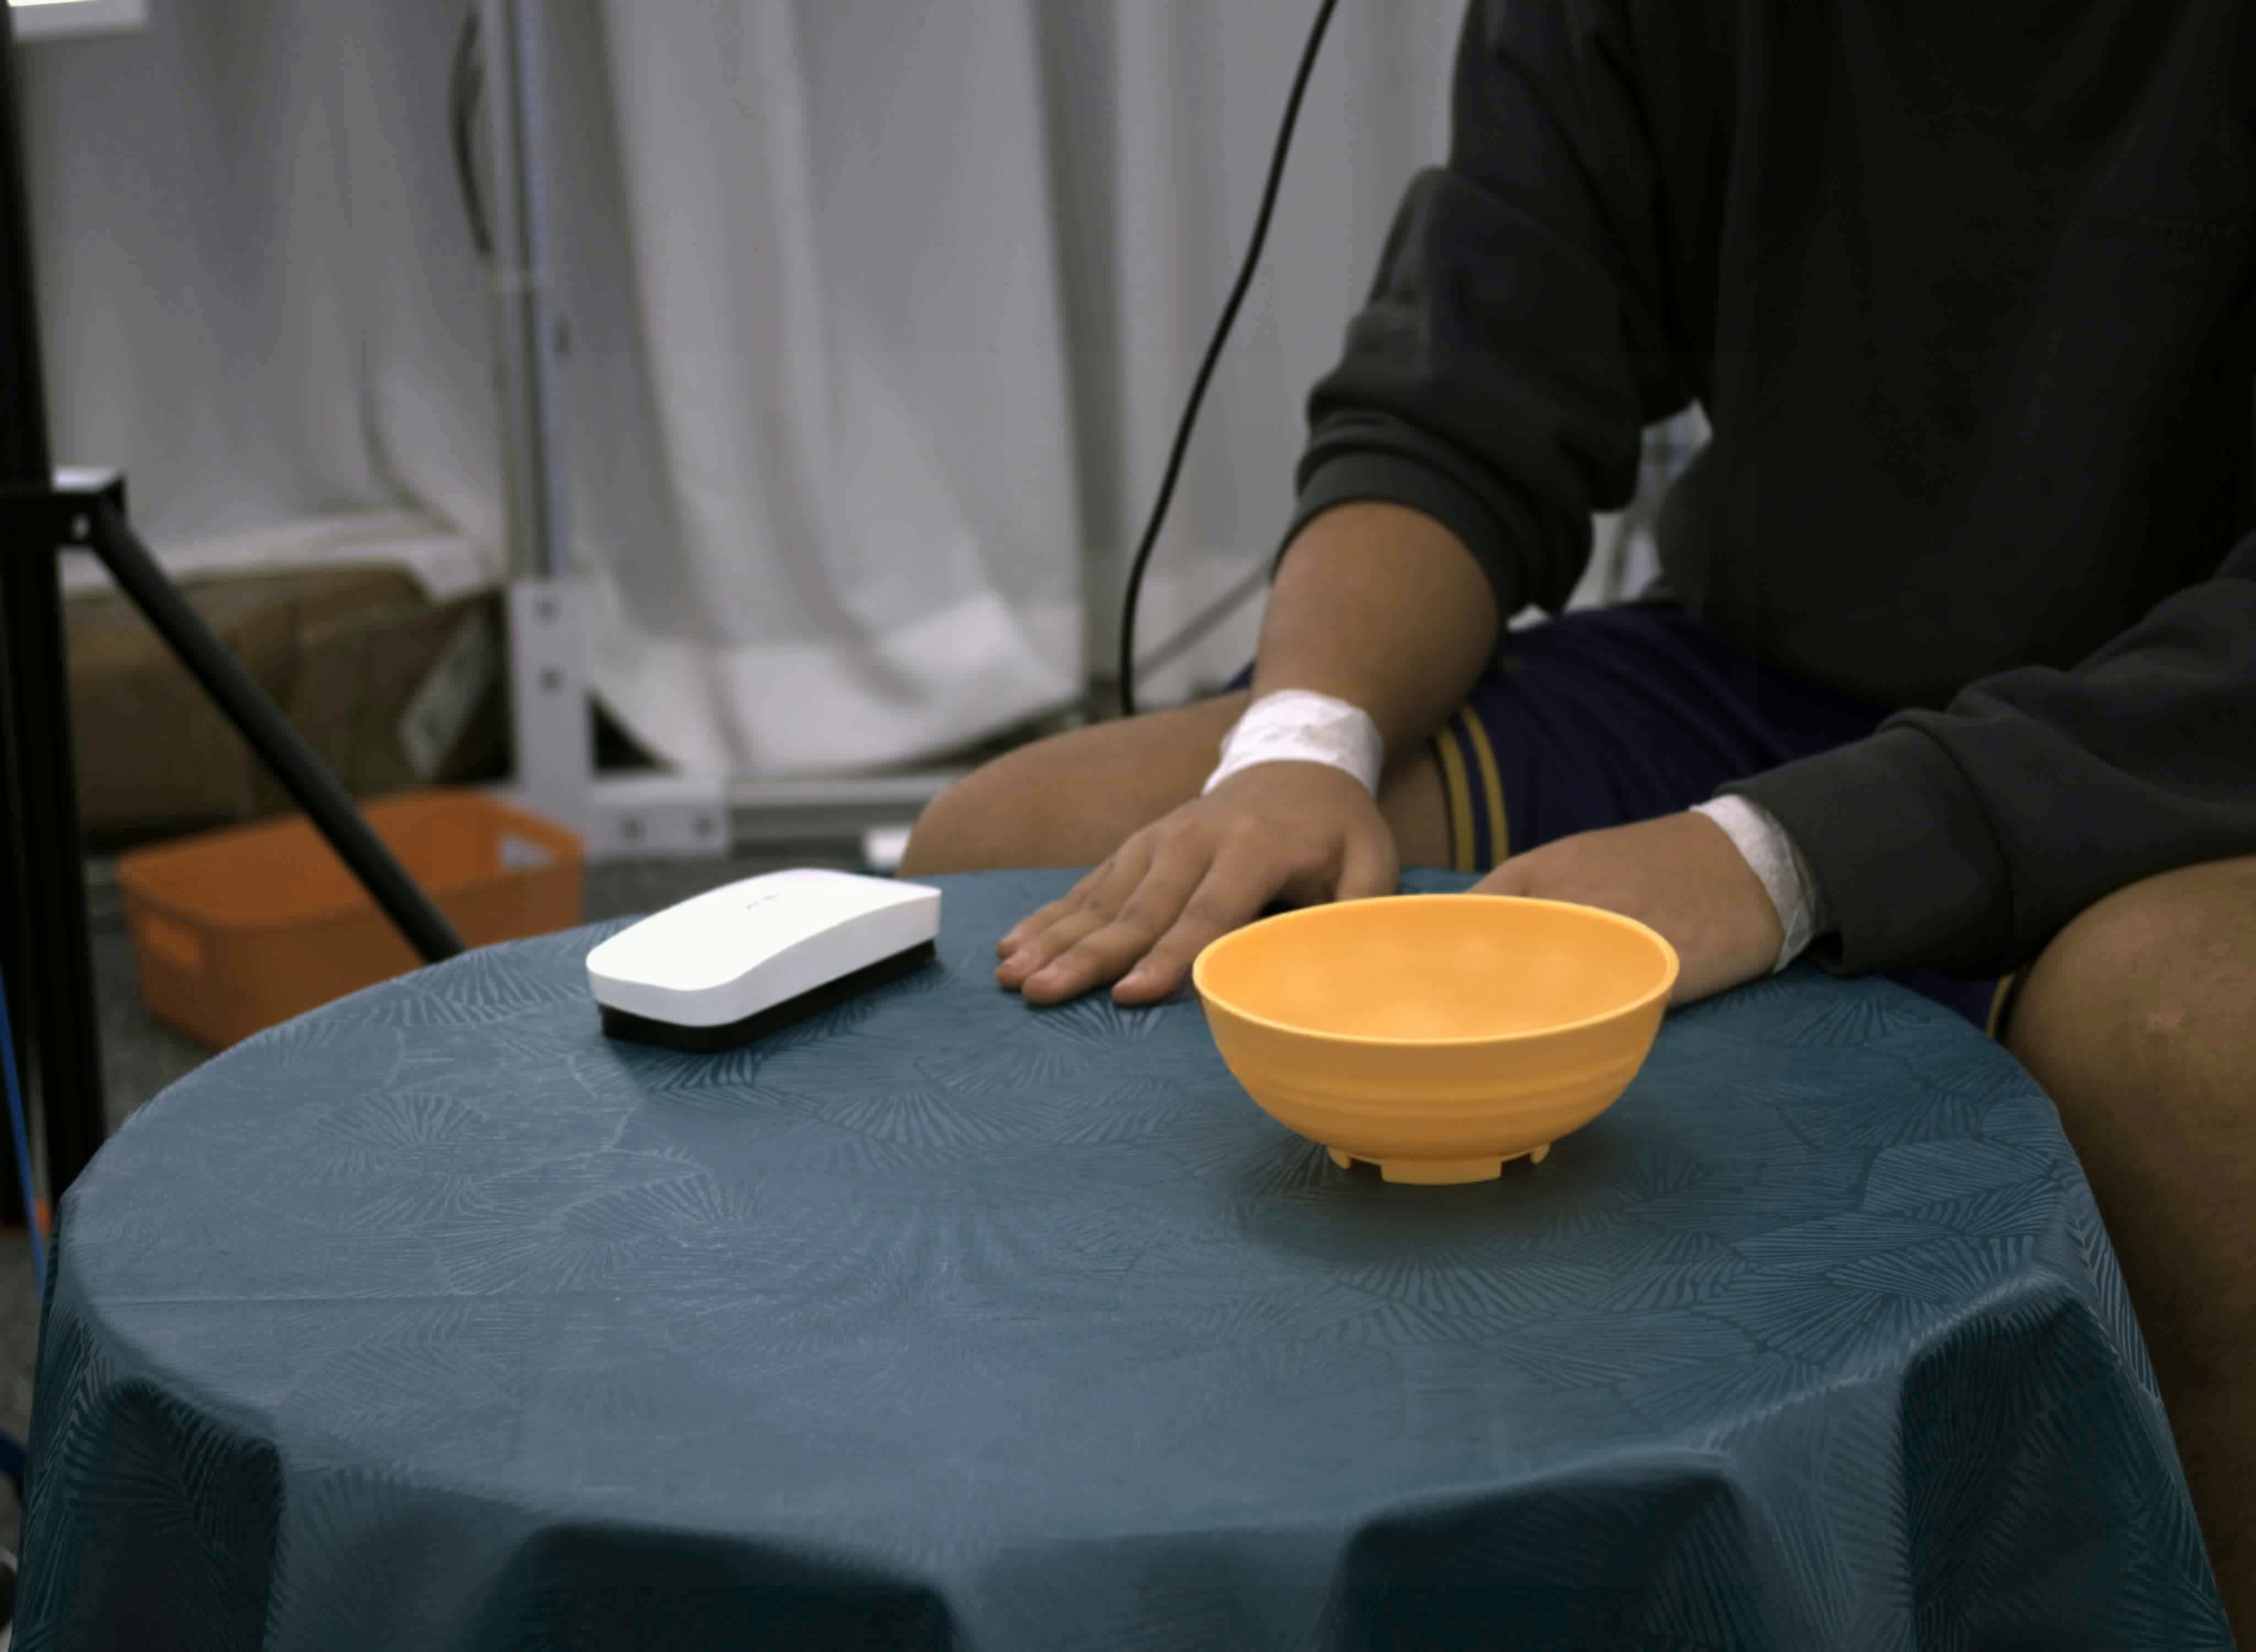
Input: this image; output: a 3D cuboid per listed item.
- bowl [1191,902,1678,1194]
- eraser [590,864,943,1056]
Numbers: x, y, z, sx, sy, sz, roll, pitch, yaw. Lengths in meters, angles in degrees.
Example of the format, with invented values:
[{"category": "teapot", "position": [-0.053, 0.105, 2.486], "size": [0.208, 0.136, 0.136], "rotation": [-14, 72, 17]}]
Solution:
[{"category": "bowl", "position": [0.090, 0.071, 1.577], "size": [0.144, 0.060, 0.146], "rotation": [-1, 15, -1]}, {"category": "eraser", "position": [-0.117, 0.040, 1.760], "size": [0.065, 0.034, 0.128], "rotation": [10, 21, 36]}]
